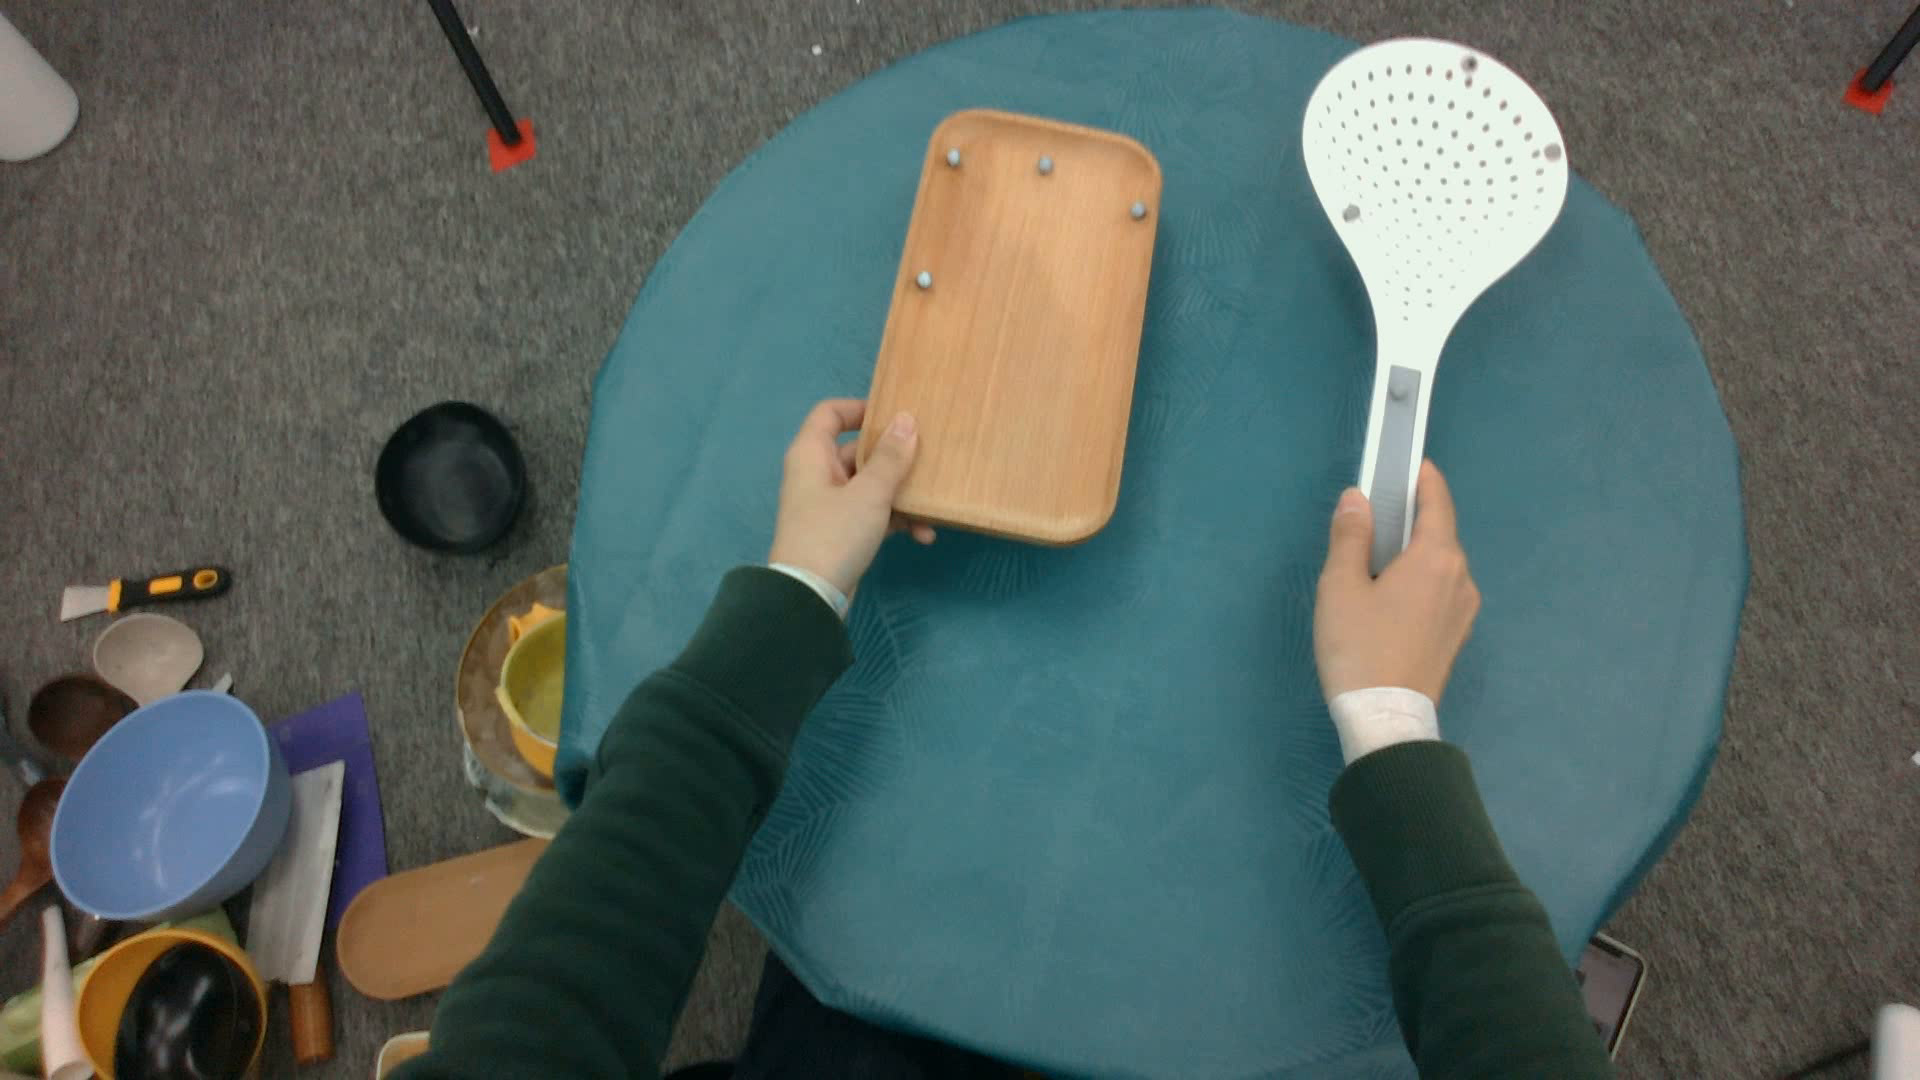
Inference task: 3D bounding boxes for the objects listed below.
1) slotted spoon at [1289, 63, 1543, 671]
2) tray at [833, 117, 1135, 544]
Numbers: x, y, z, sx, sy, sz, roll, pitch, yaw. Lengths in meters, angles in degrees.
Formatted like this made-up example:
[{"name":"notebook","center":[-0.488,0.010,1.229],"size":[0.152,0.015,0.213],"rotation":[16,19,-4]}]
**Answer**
[{"name":"slotted spoon","center":[0.215,-0.099,0.696],"size":[0.136,0.045,0.351],"rotation":[14,63,3]},{"name":"tray","center":[0.017,-0.114,0.707],"size":[0.130,0.023,0.251],"rotation":[10,63,2]}]
